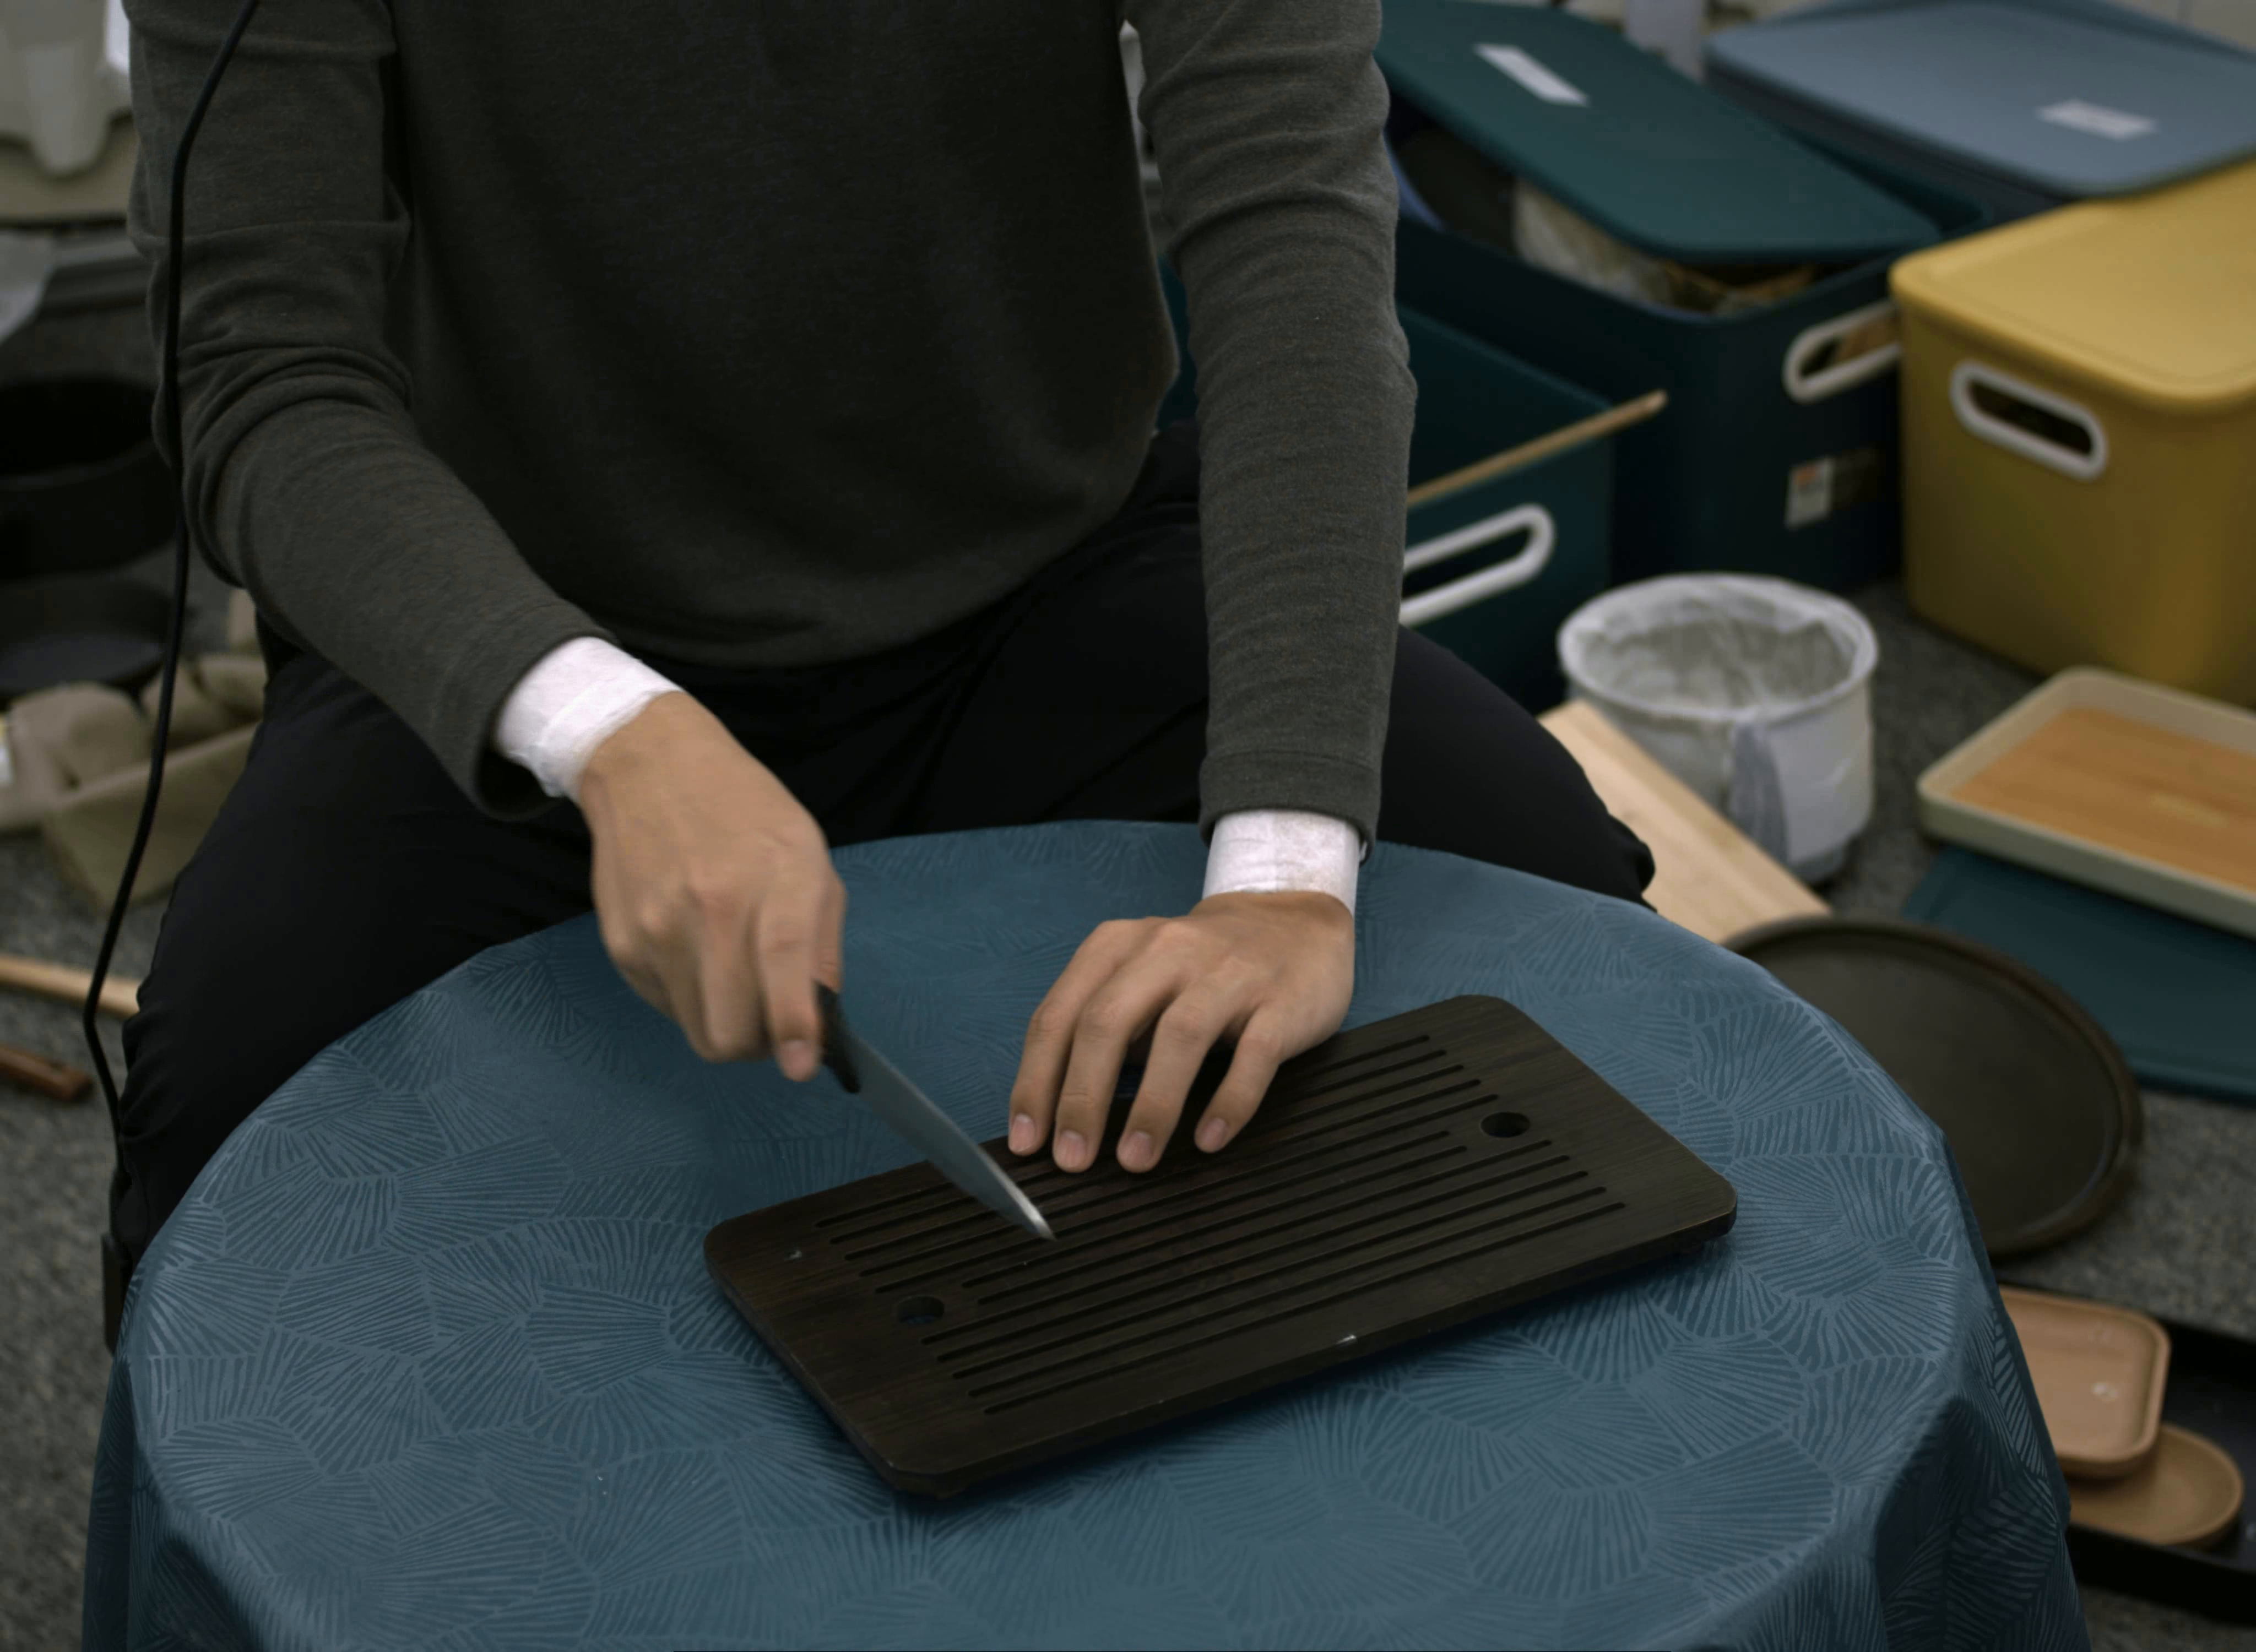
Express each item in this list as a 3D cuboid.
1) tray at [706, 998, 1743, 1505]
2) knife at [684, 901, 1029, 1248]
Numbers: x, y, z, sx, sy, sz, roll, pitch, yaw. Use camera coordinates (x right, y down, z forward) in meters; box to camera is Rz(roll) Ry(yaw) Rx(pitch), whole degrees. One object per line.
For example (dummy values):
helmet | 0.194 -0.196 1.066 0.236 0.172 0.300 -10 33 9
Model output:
tray | 0.031 0.135 1.814 0.307 0.018 0.171 -16 29 -24
knife | -0.087 0.077 1.782 0.016 0.024 0.239 -12 29 -26
